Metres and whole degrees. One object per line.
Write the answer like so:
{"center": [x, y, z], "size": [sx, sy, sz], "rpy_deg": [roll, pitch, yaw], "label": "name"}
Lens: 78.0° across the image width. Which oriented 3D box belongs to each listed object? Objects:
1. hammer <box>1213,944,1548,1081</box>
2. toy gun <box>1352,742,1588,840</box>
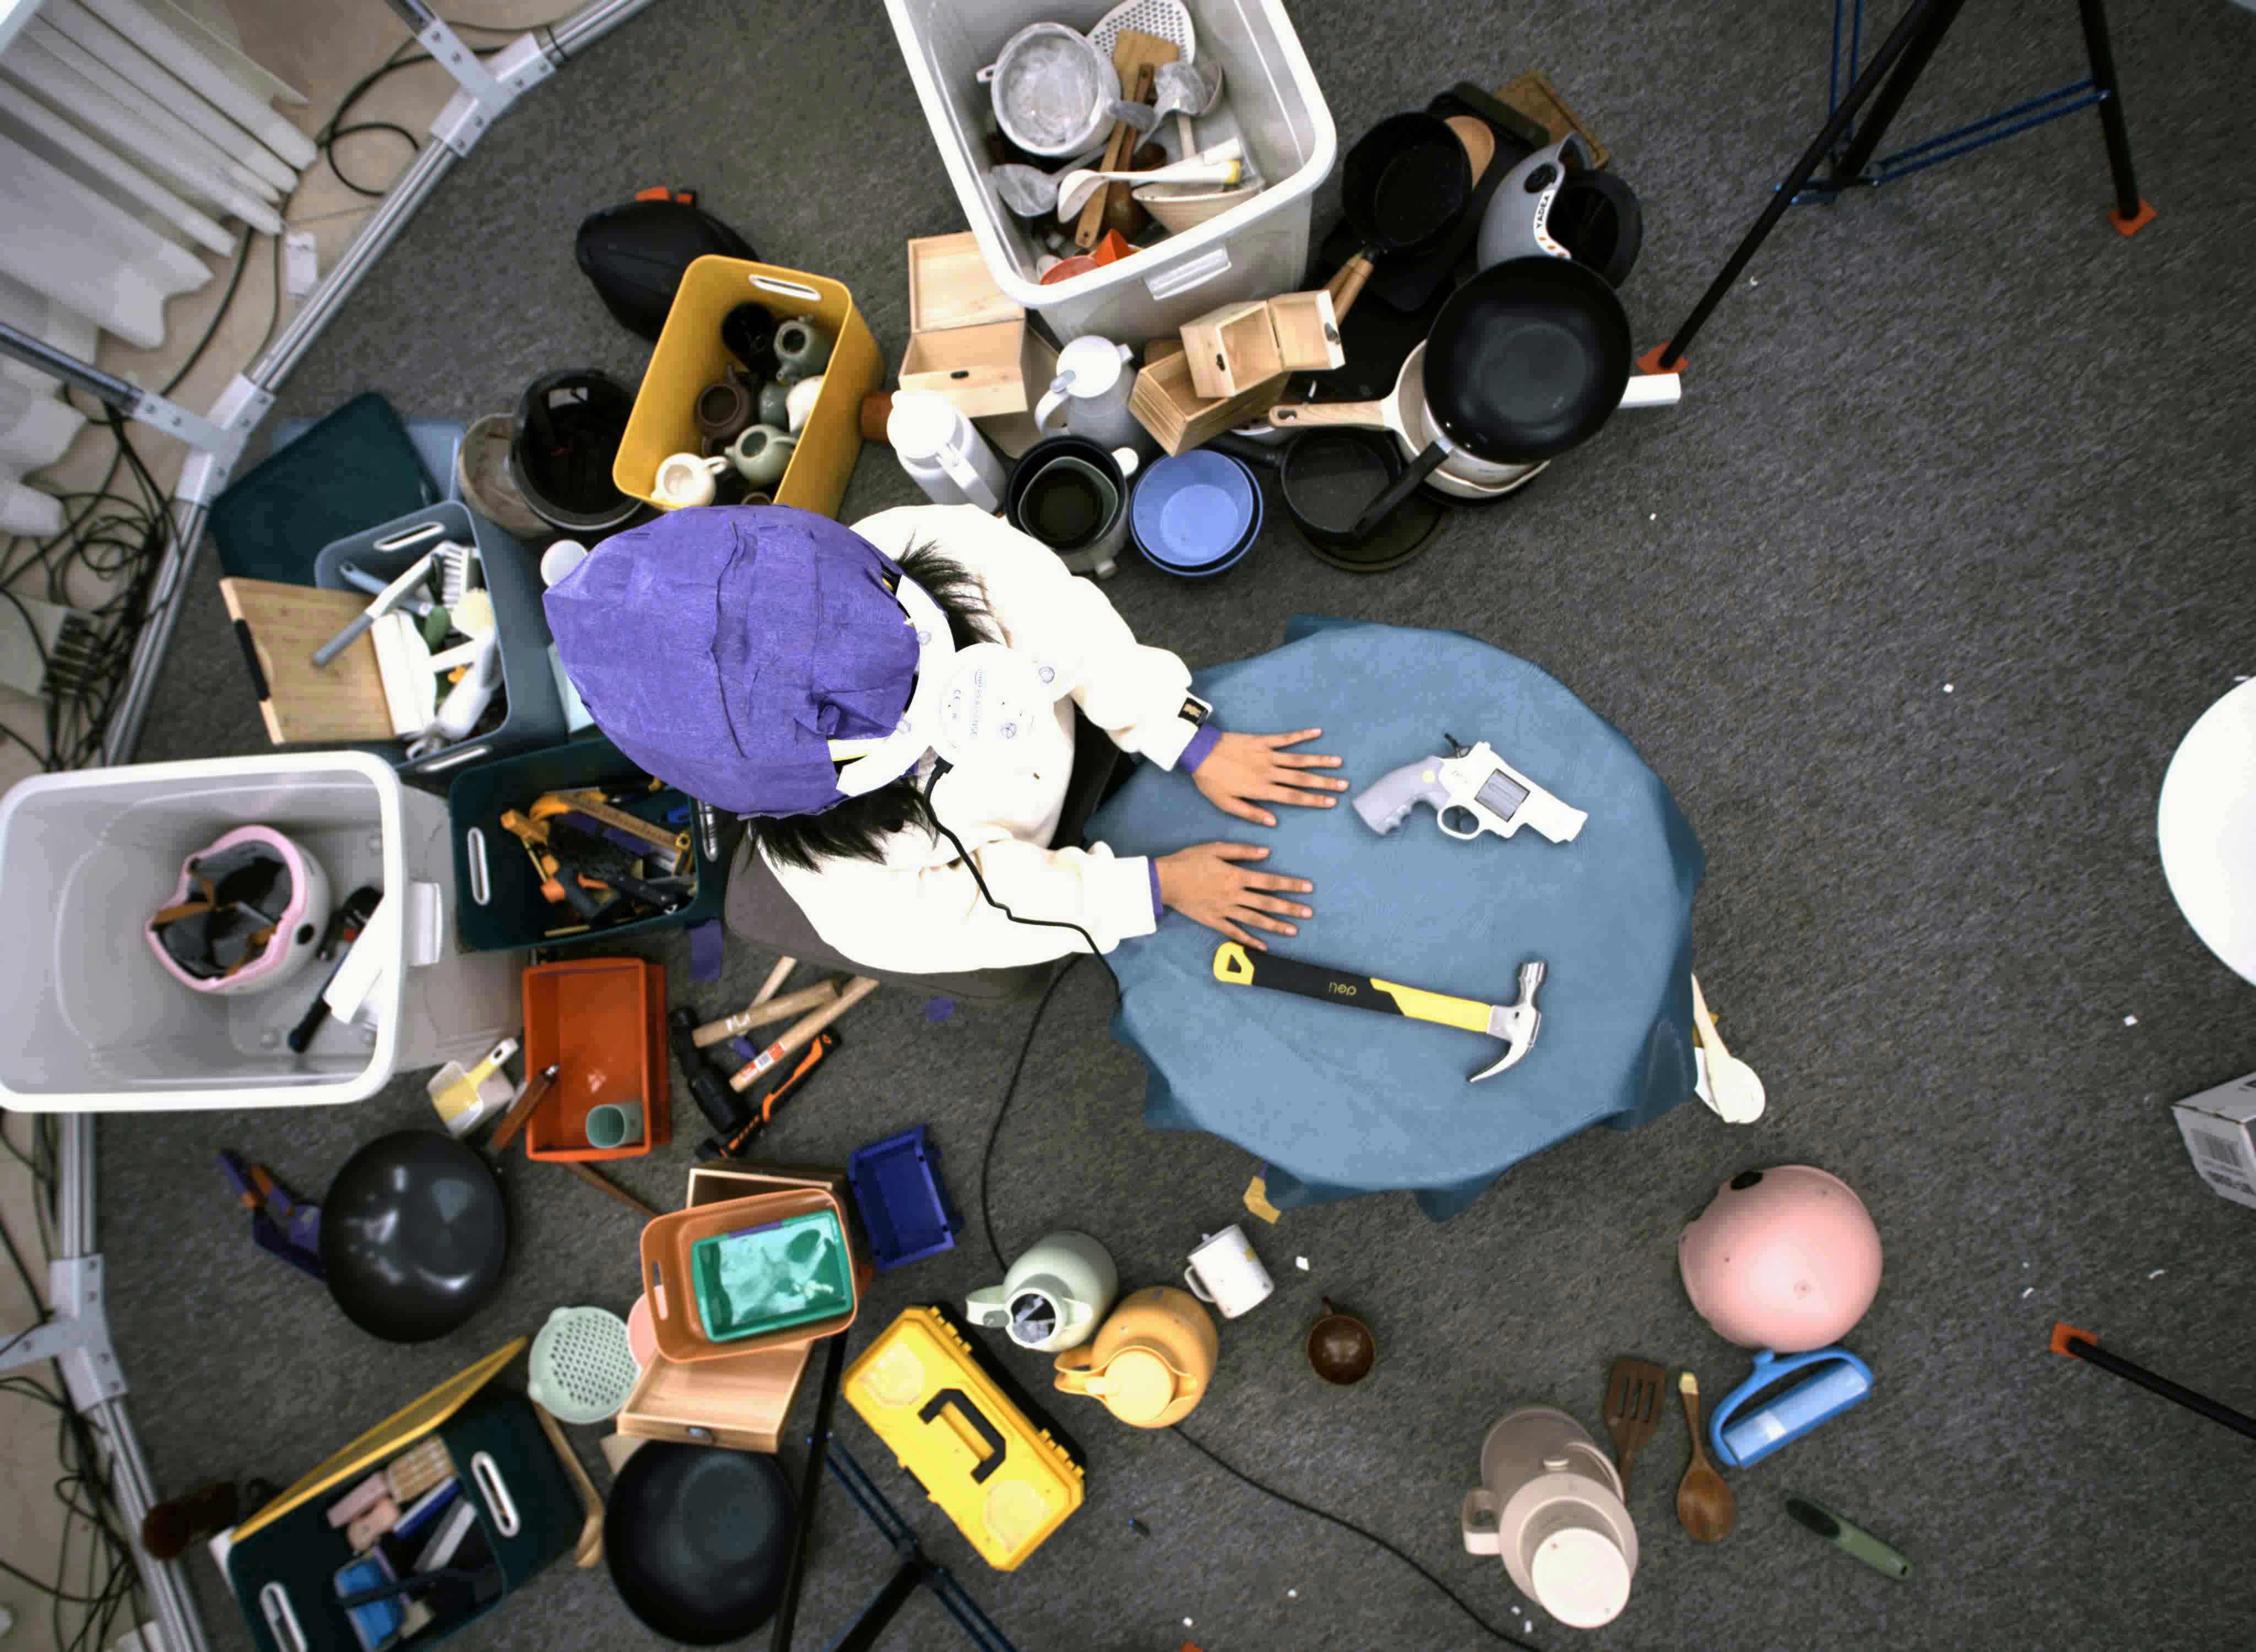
{"center": [0.255, 0.174, 1.437], "size": [0.339, 0.032, 0.131], "rpy_deg": [11, 90, 9], "label": "hammer"}
{"center": [0.353, -0.016, 1.430], "size": [0.208, 0.039, 0.142], "rpy_deg": [34, 93, 10], "label": "toy gun"}
